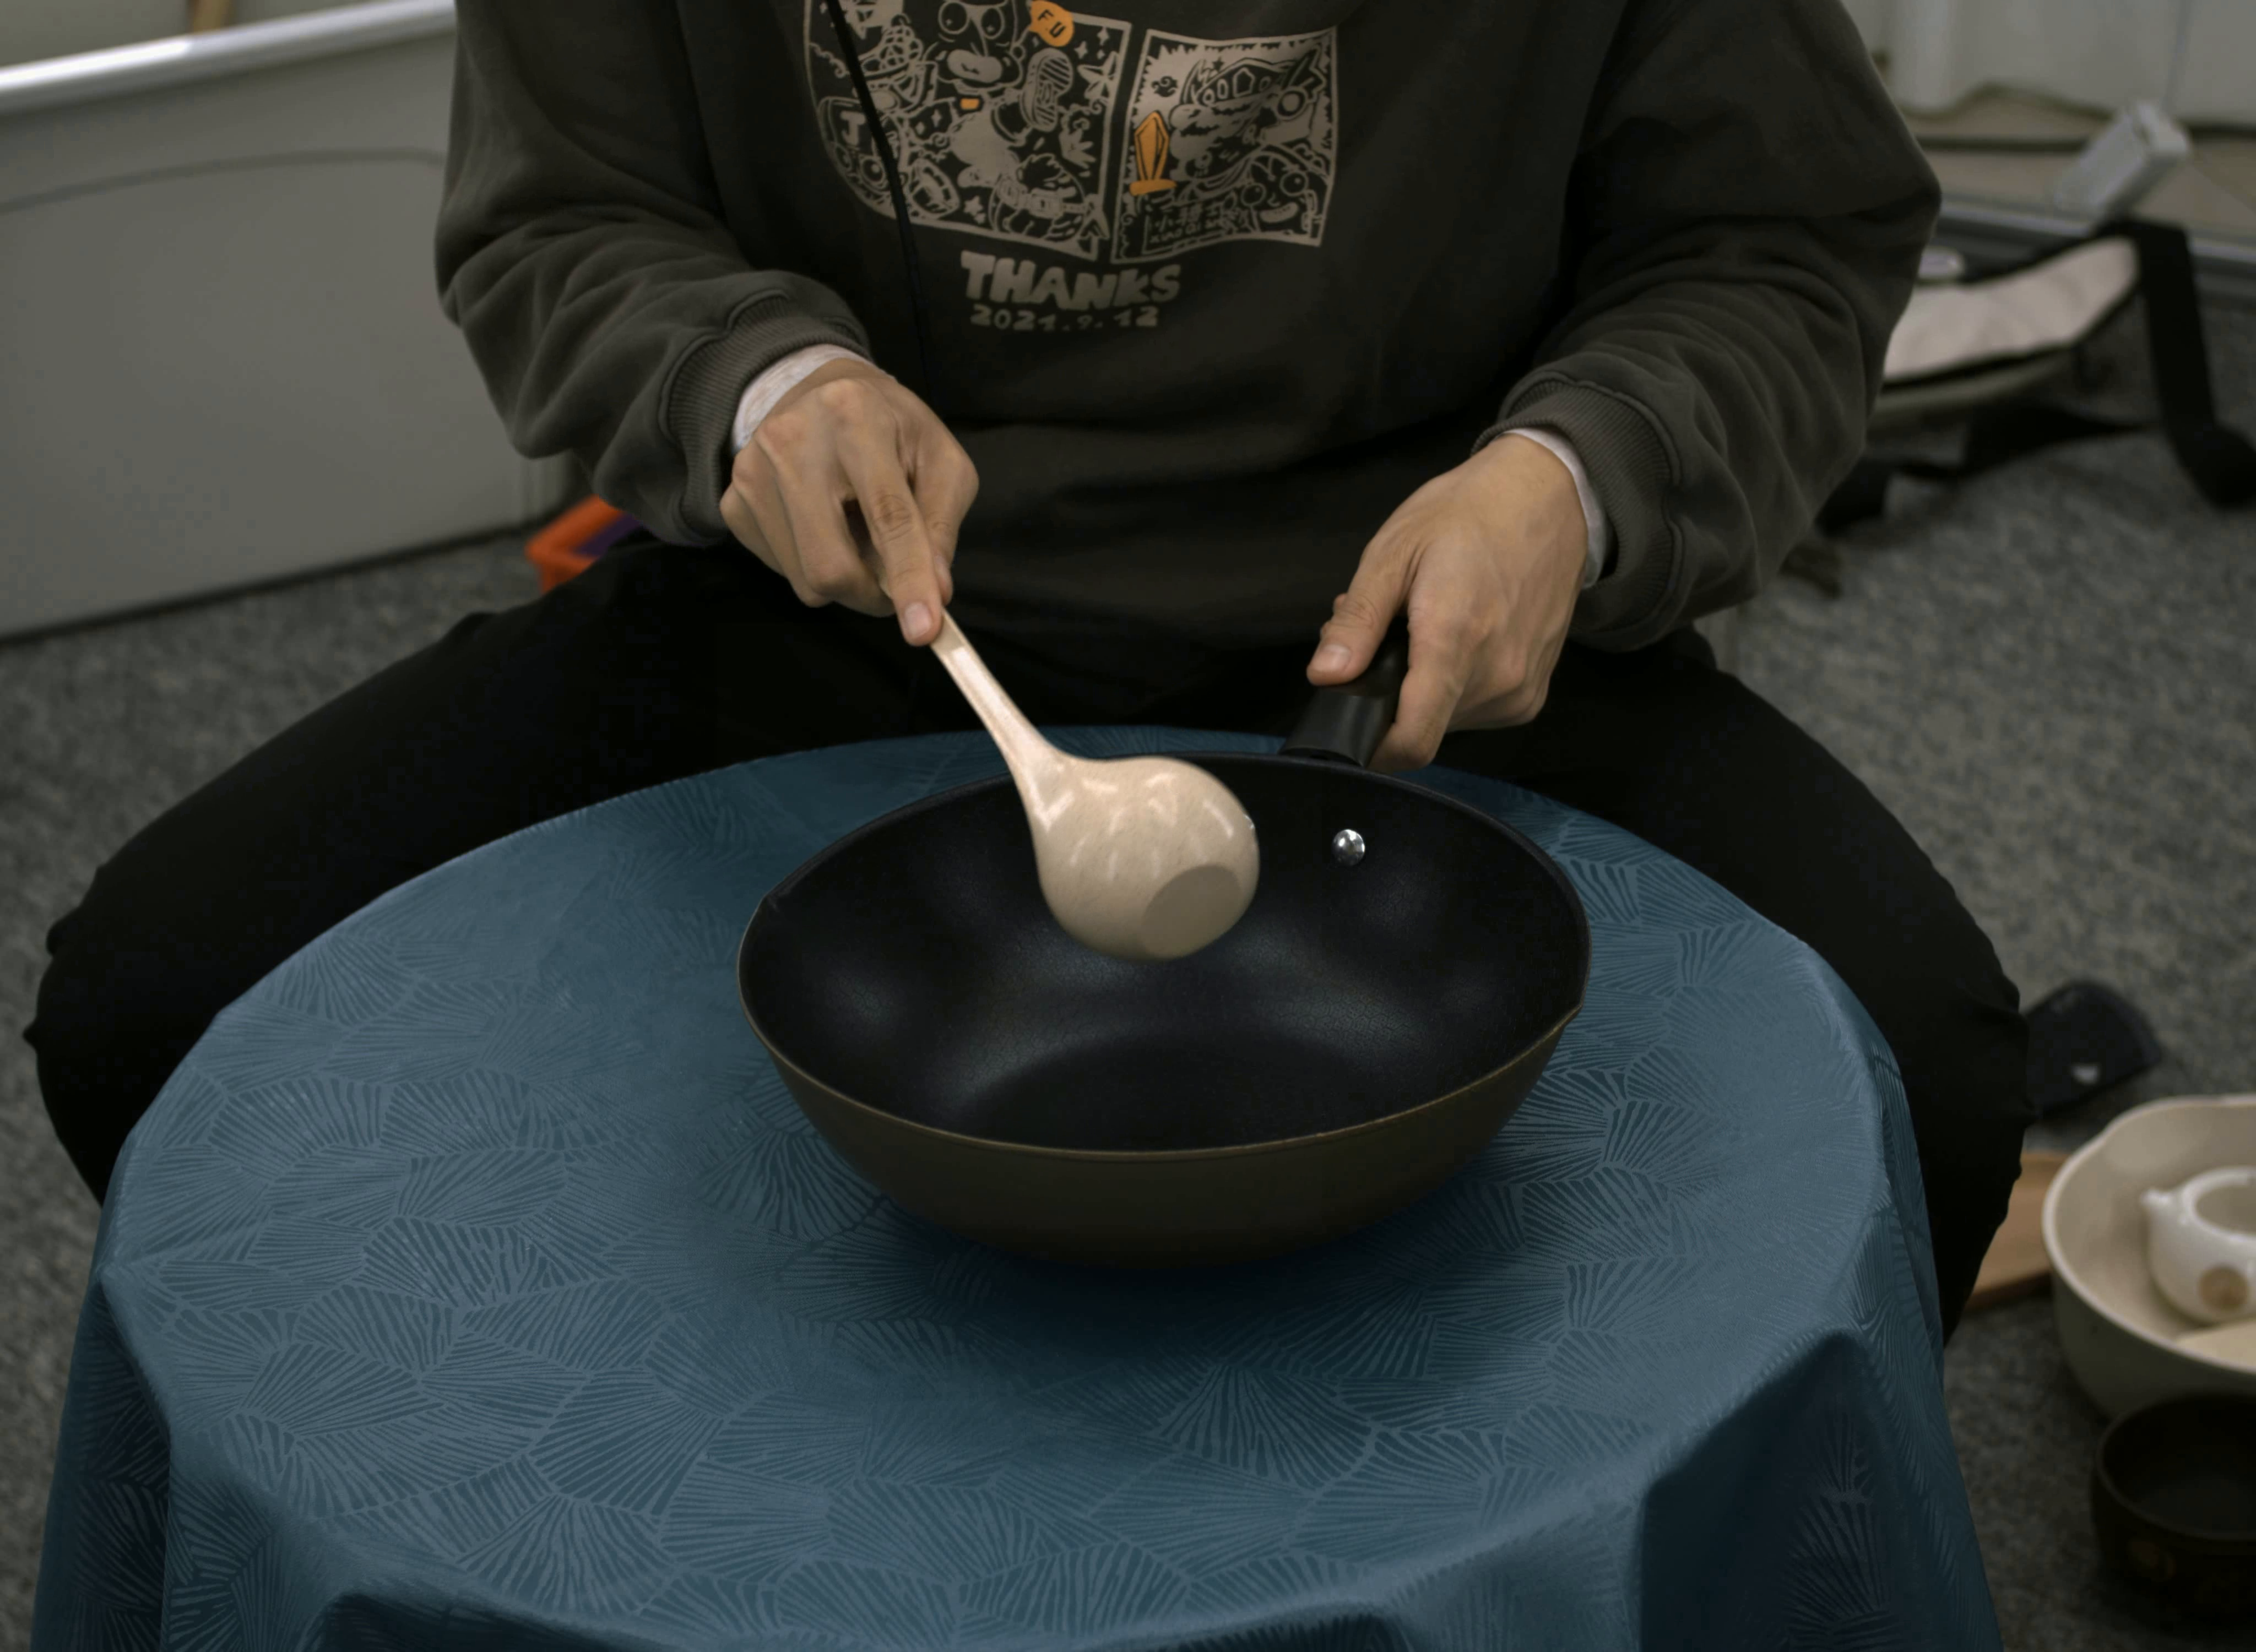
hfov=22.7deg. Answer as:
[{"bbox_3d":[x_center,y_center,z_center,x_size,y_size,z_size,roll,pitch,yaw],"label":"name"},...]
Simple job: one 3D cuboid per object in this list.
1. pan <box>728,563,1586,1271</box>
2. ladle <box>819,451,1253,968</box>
[{"bbox_3d":[0.044,0.032,1.940,0.286,0.086,0.471,8,28,20],"label":"pan"},{"bbox_3d":[-0.035,-0.045,1.957,0.072,0.071,0.257,24,22,-40],"label":"ladle"}]
